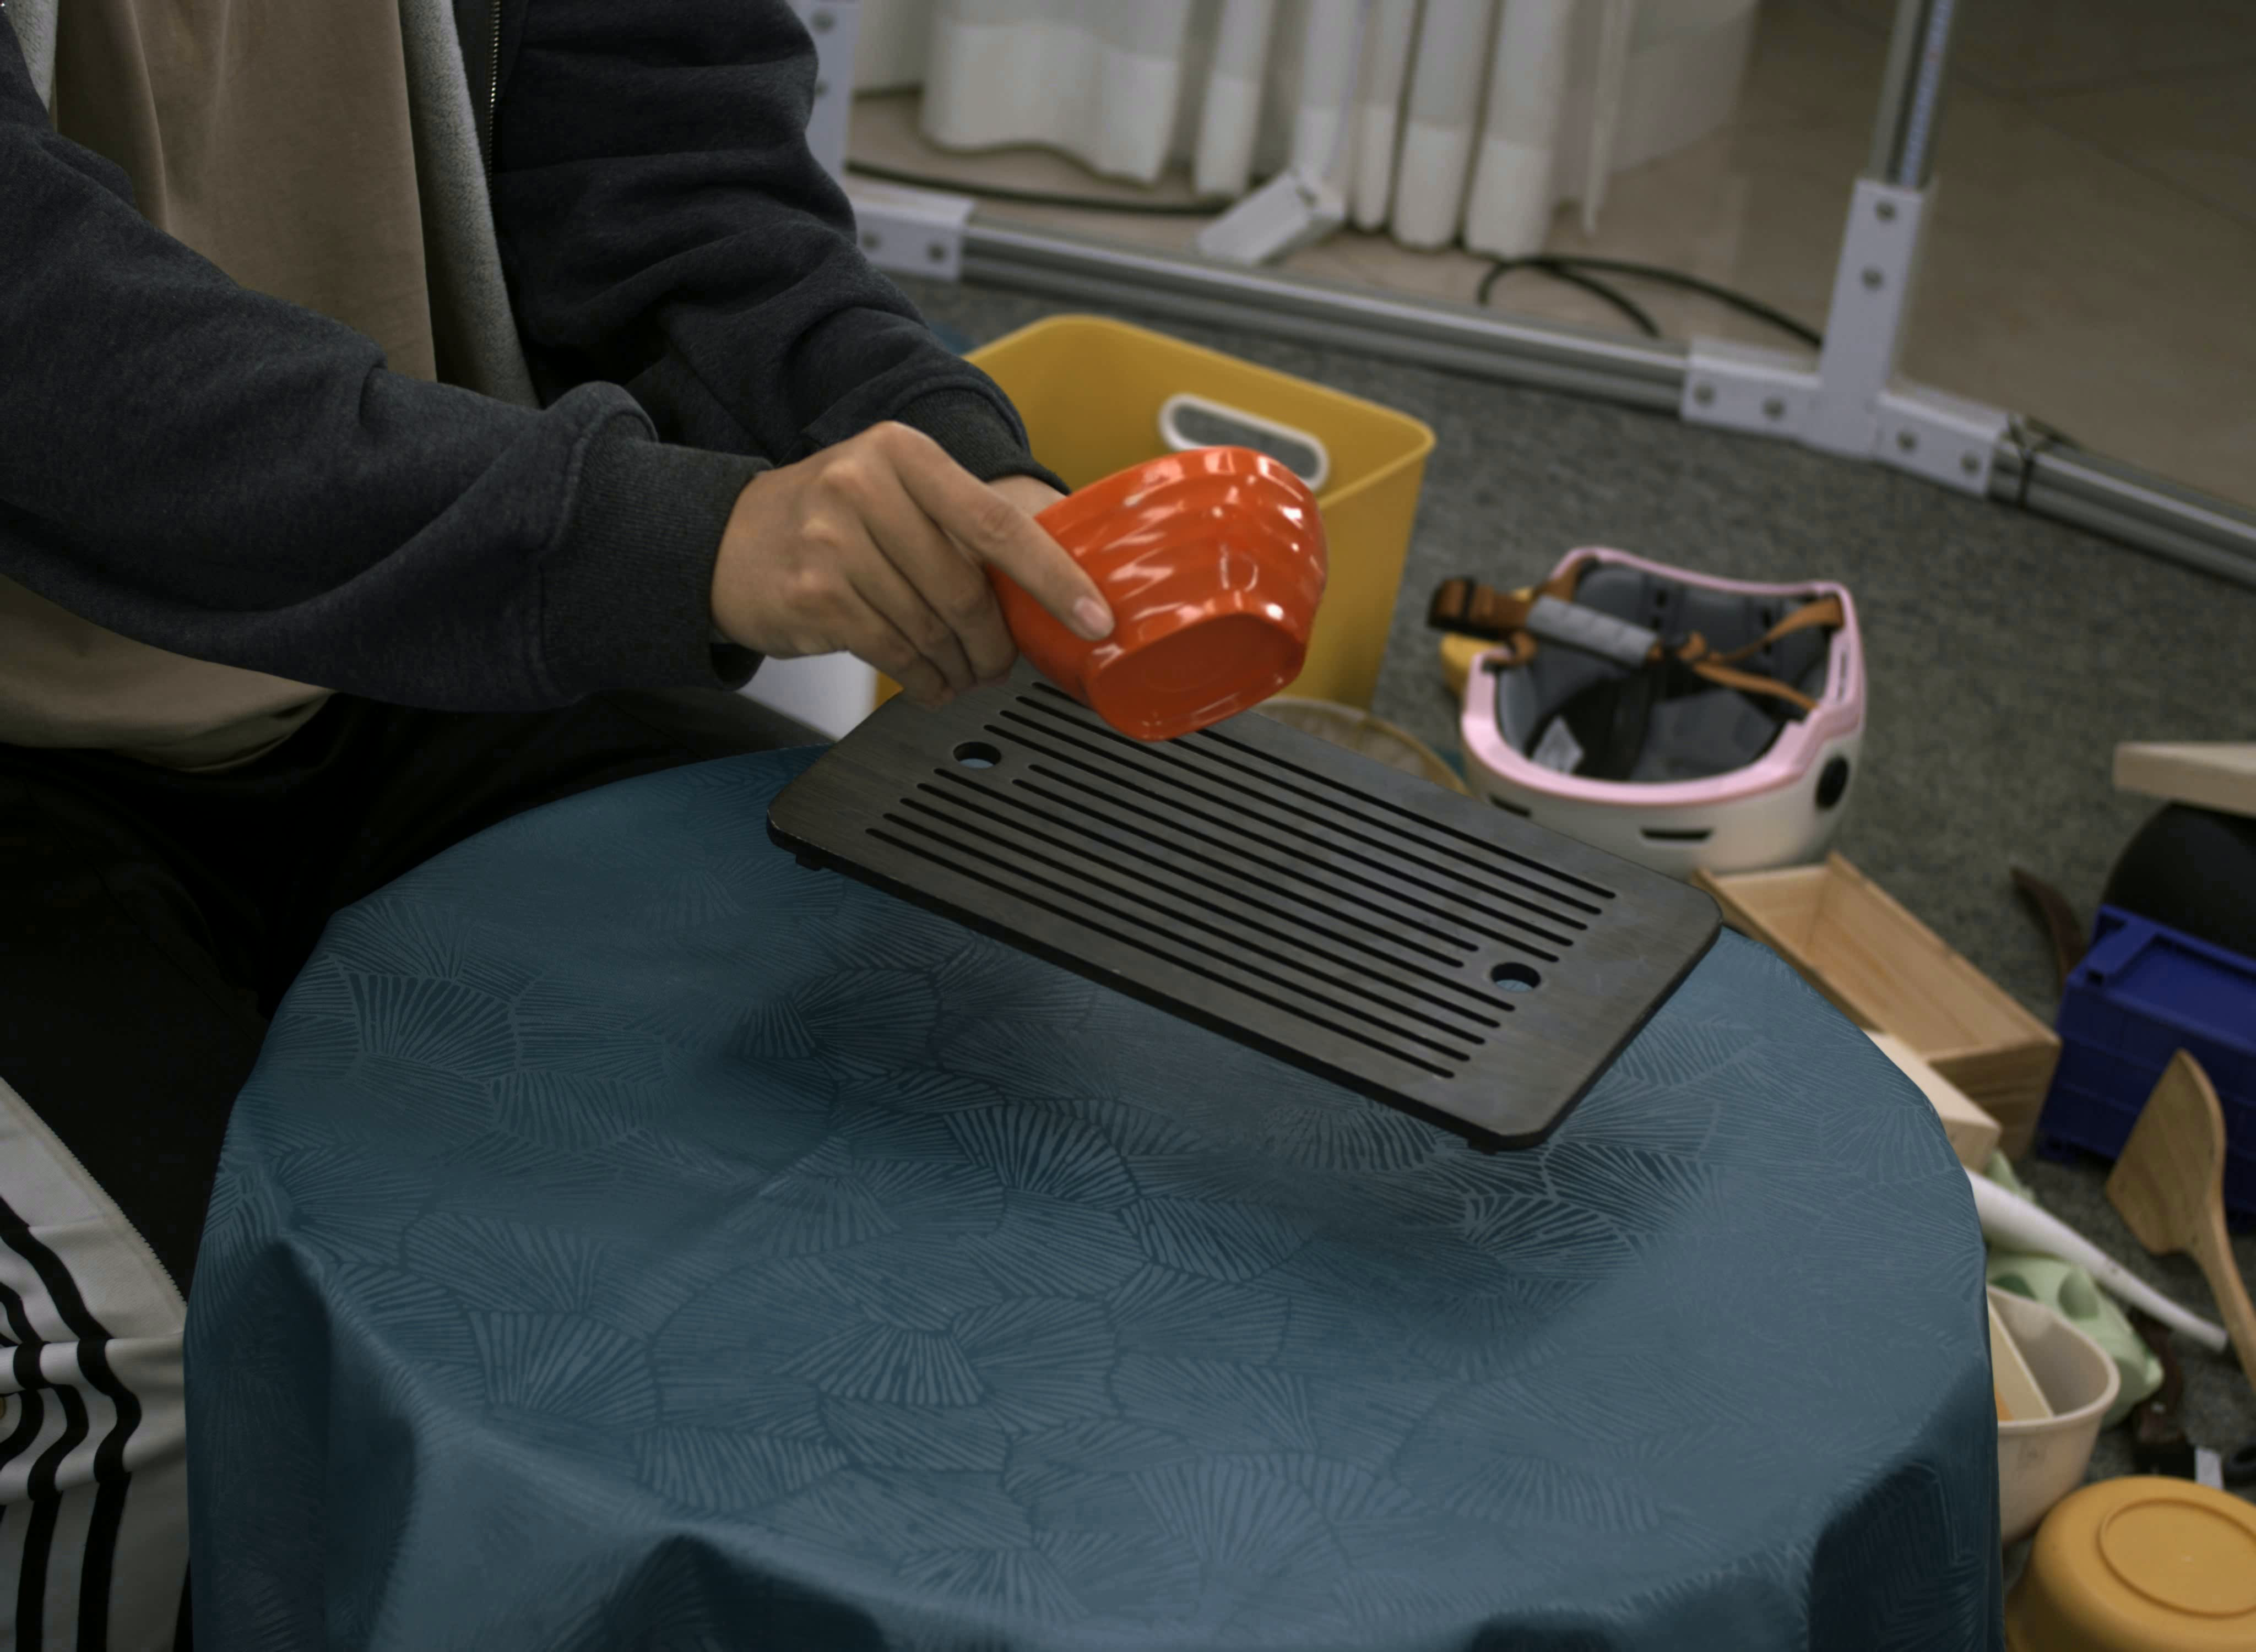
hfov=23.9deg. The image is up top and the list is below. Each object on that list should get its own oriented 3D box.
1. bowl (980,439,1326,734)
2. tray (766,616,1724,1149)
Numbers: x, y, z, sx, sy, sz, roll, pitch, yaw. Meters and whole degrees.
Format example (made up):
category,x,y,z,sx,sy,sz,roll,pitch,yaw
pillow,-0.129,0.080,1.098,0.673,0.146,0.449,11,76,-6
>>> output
category,x,y,z,sx,sy,sz,roll,pitch,yaw
bowl,0.014,-0.070,1.711,0.118,0.118,0.052,-5,61,-23
tray,0.041,0.017,1.863,0.307,0.018,0.170,22,38,22
